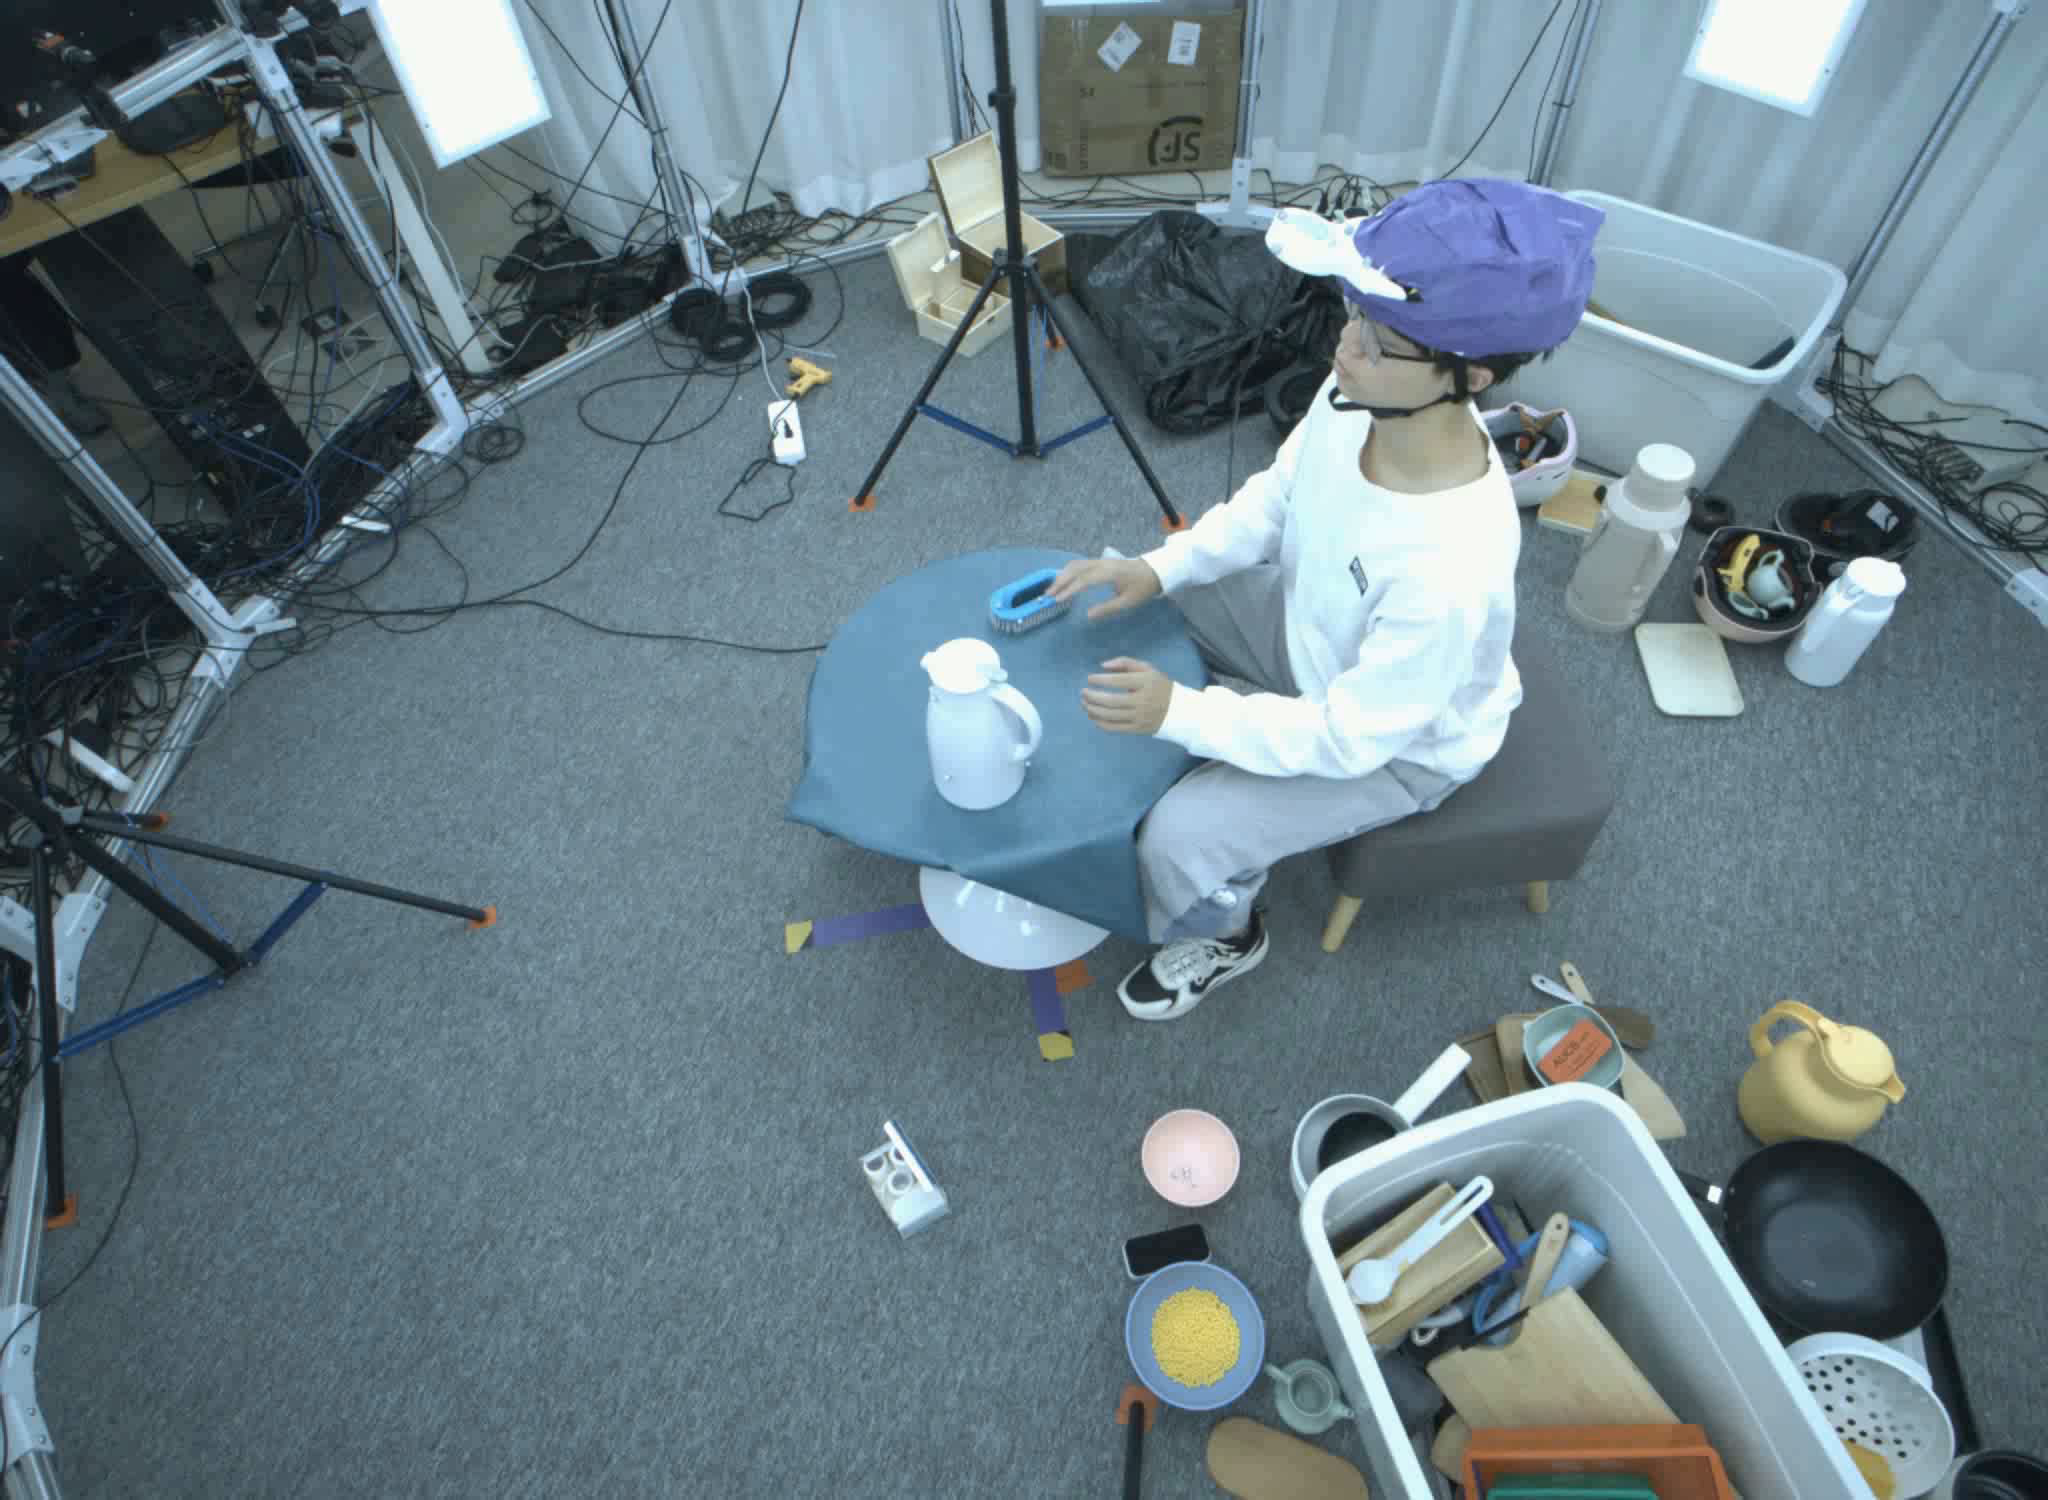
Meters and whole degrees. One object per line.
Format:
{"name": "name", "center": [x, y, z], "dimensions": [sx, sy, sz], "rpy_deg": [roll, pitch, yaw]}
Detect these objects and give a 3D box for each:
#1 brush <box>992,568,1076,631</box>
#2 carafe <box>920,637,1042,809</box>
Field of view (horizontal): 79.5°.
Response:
{"name": "brush", "center": [0.012, -0.246, 1.920], "dimensions": [0.143, 0.064, 0.082], "rpy_deg": [-25, 53, -16]}
{"name": "carafe", "center": [-0.053, -0.037, 1.658], "dimensions": [0.166, 0.251, 0.132], "rpy_deg": [19, 58, 16]}
